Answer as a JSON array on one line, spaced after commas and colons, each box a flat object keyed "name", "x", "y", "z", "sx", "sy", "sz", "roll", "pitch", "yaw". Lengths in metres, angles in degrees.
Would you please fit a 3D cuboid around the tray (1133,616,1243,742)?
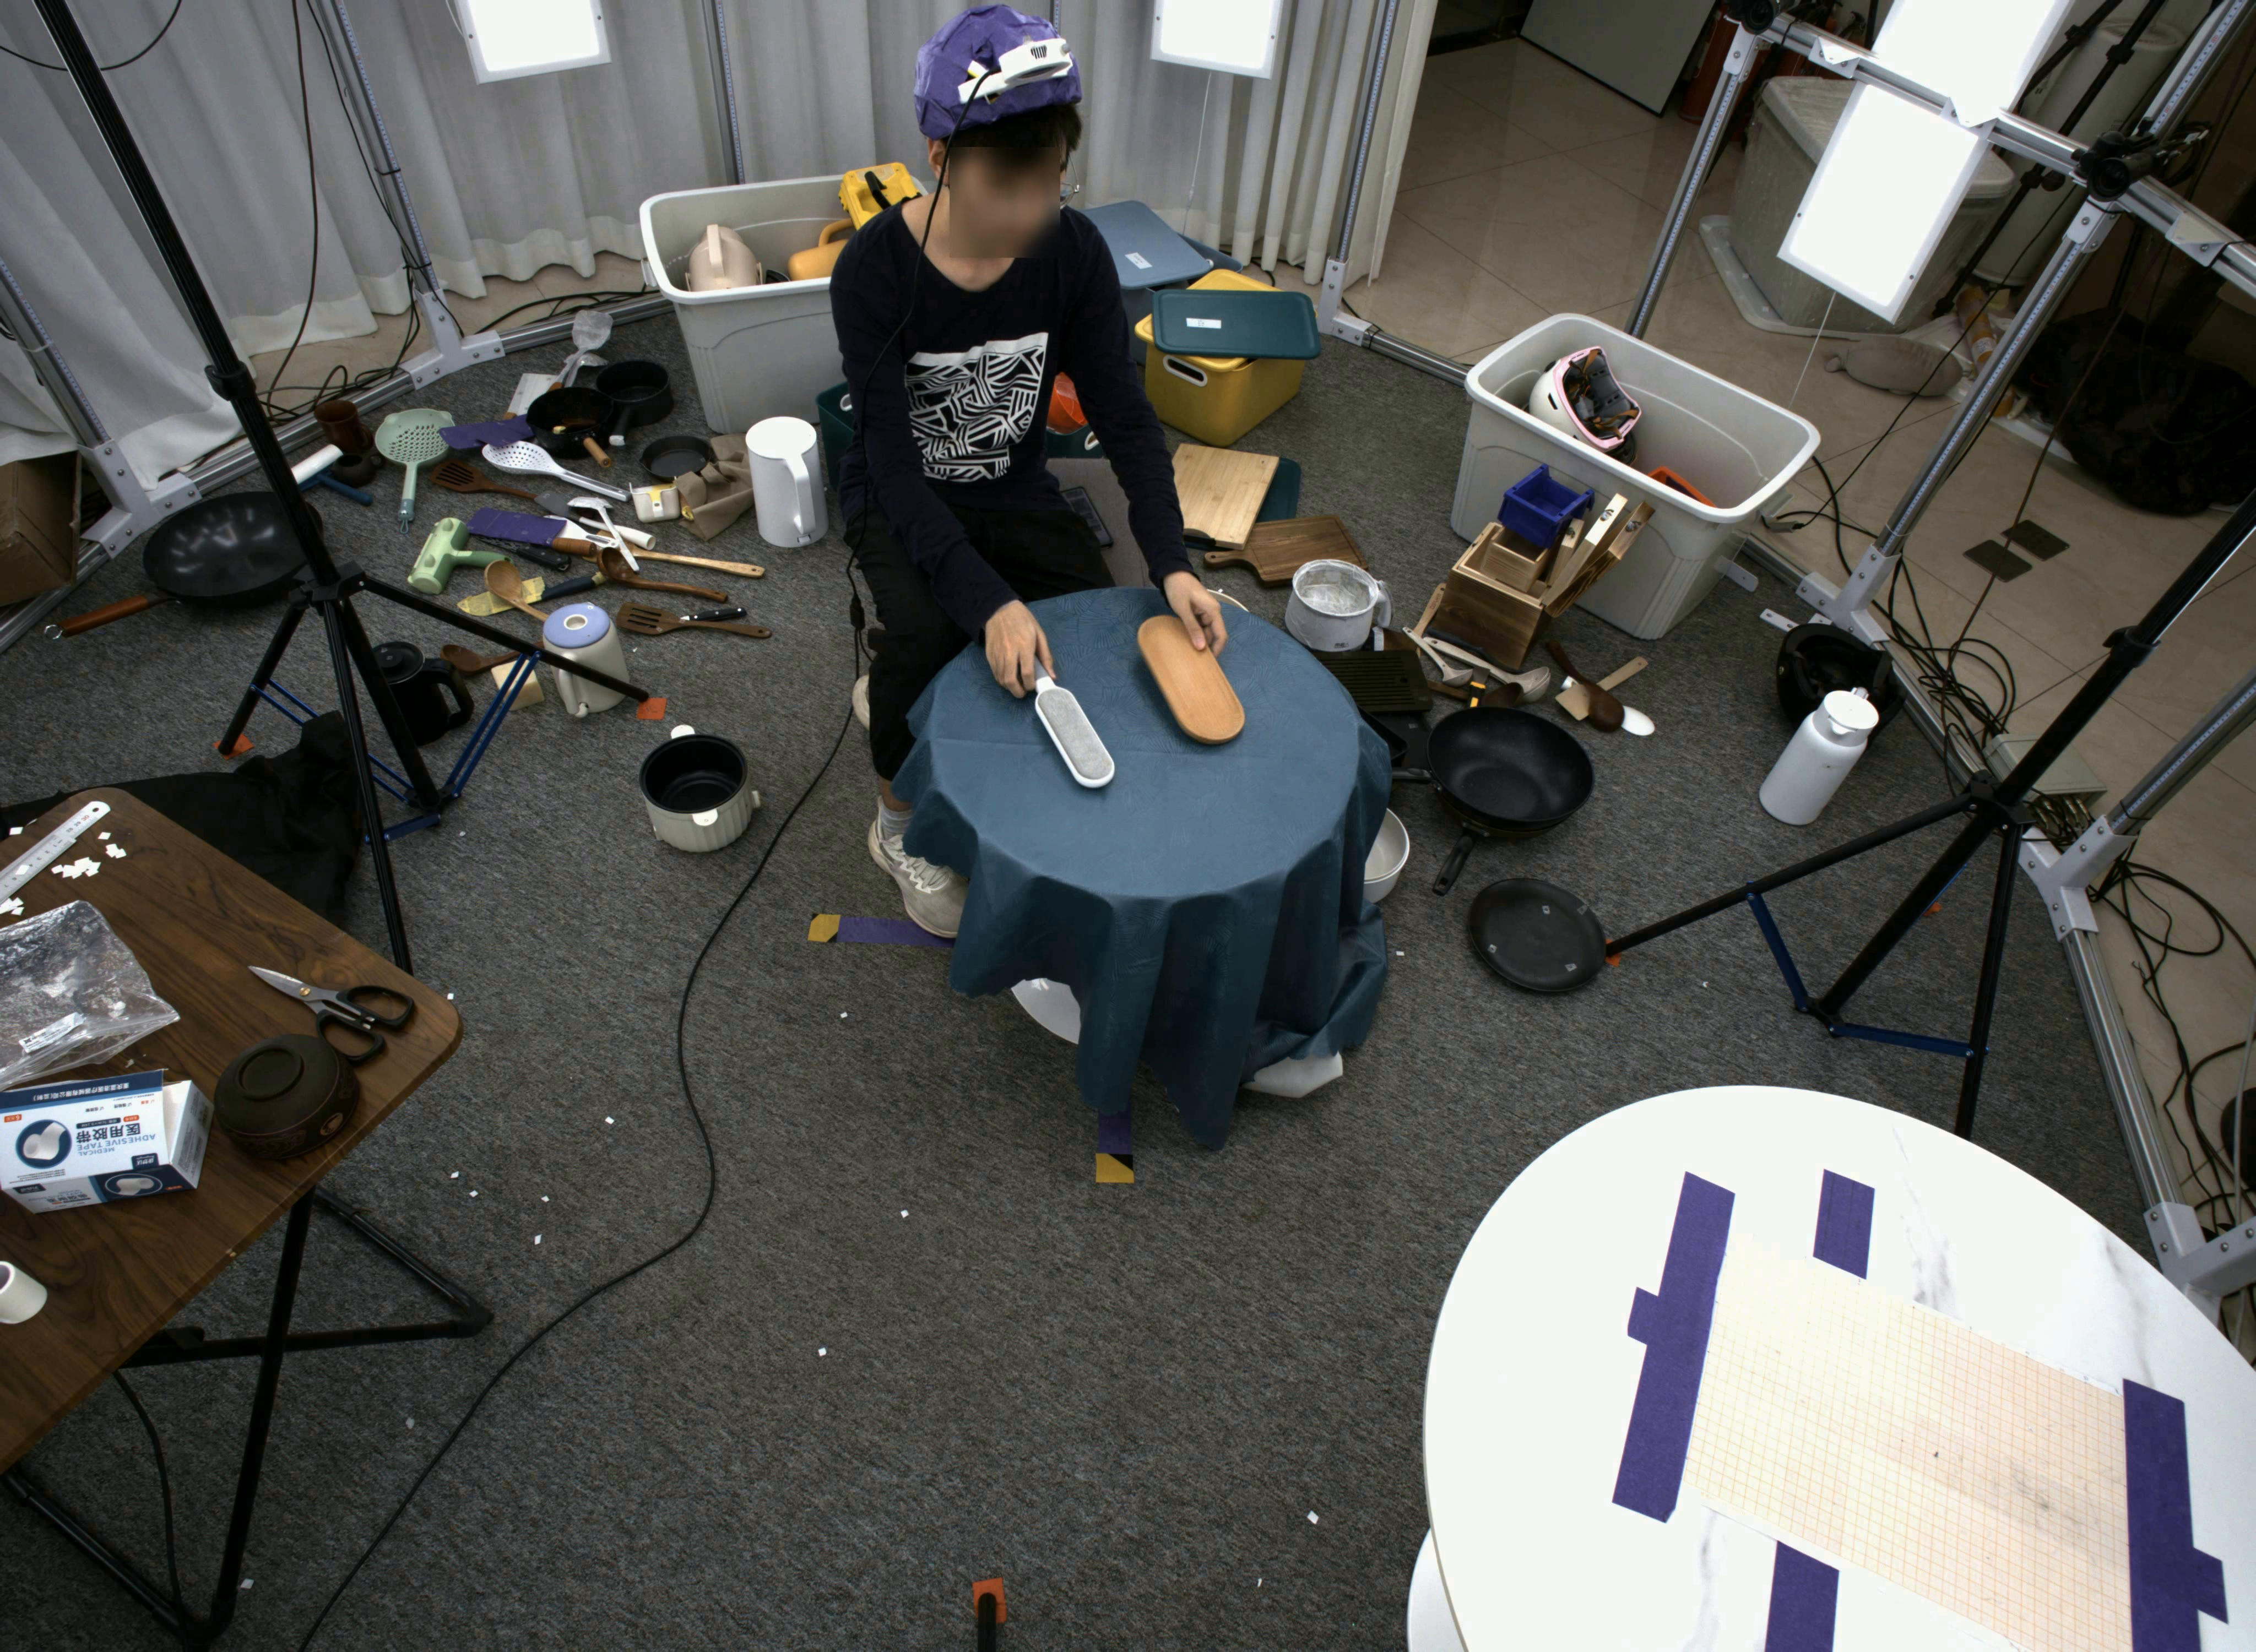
[{"name": "tray", "x": 0.083, "y": -0.211, "z": 1.827, "sx": 0.102, "sy": 0.020, "sz": 0.236, "roll": -14, "pitch": 57, "yaw": -22}]

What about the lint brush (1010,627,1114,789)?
[{"name": "lint brush", "x": -0.098, "y": -0.170, "z": 1.779, "sx": 0.060, "sy": 0.020, "sz": 0.316, "roll": -21, "pitch": 56, "yaw": -13}]
